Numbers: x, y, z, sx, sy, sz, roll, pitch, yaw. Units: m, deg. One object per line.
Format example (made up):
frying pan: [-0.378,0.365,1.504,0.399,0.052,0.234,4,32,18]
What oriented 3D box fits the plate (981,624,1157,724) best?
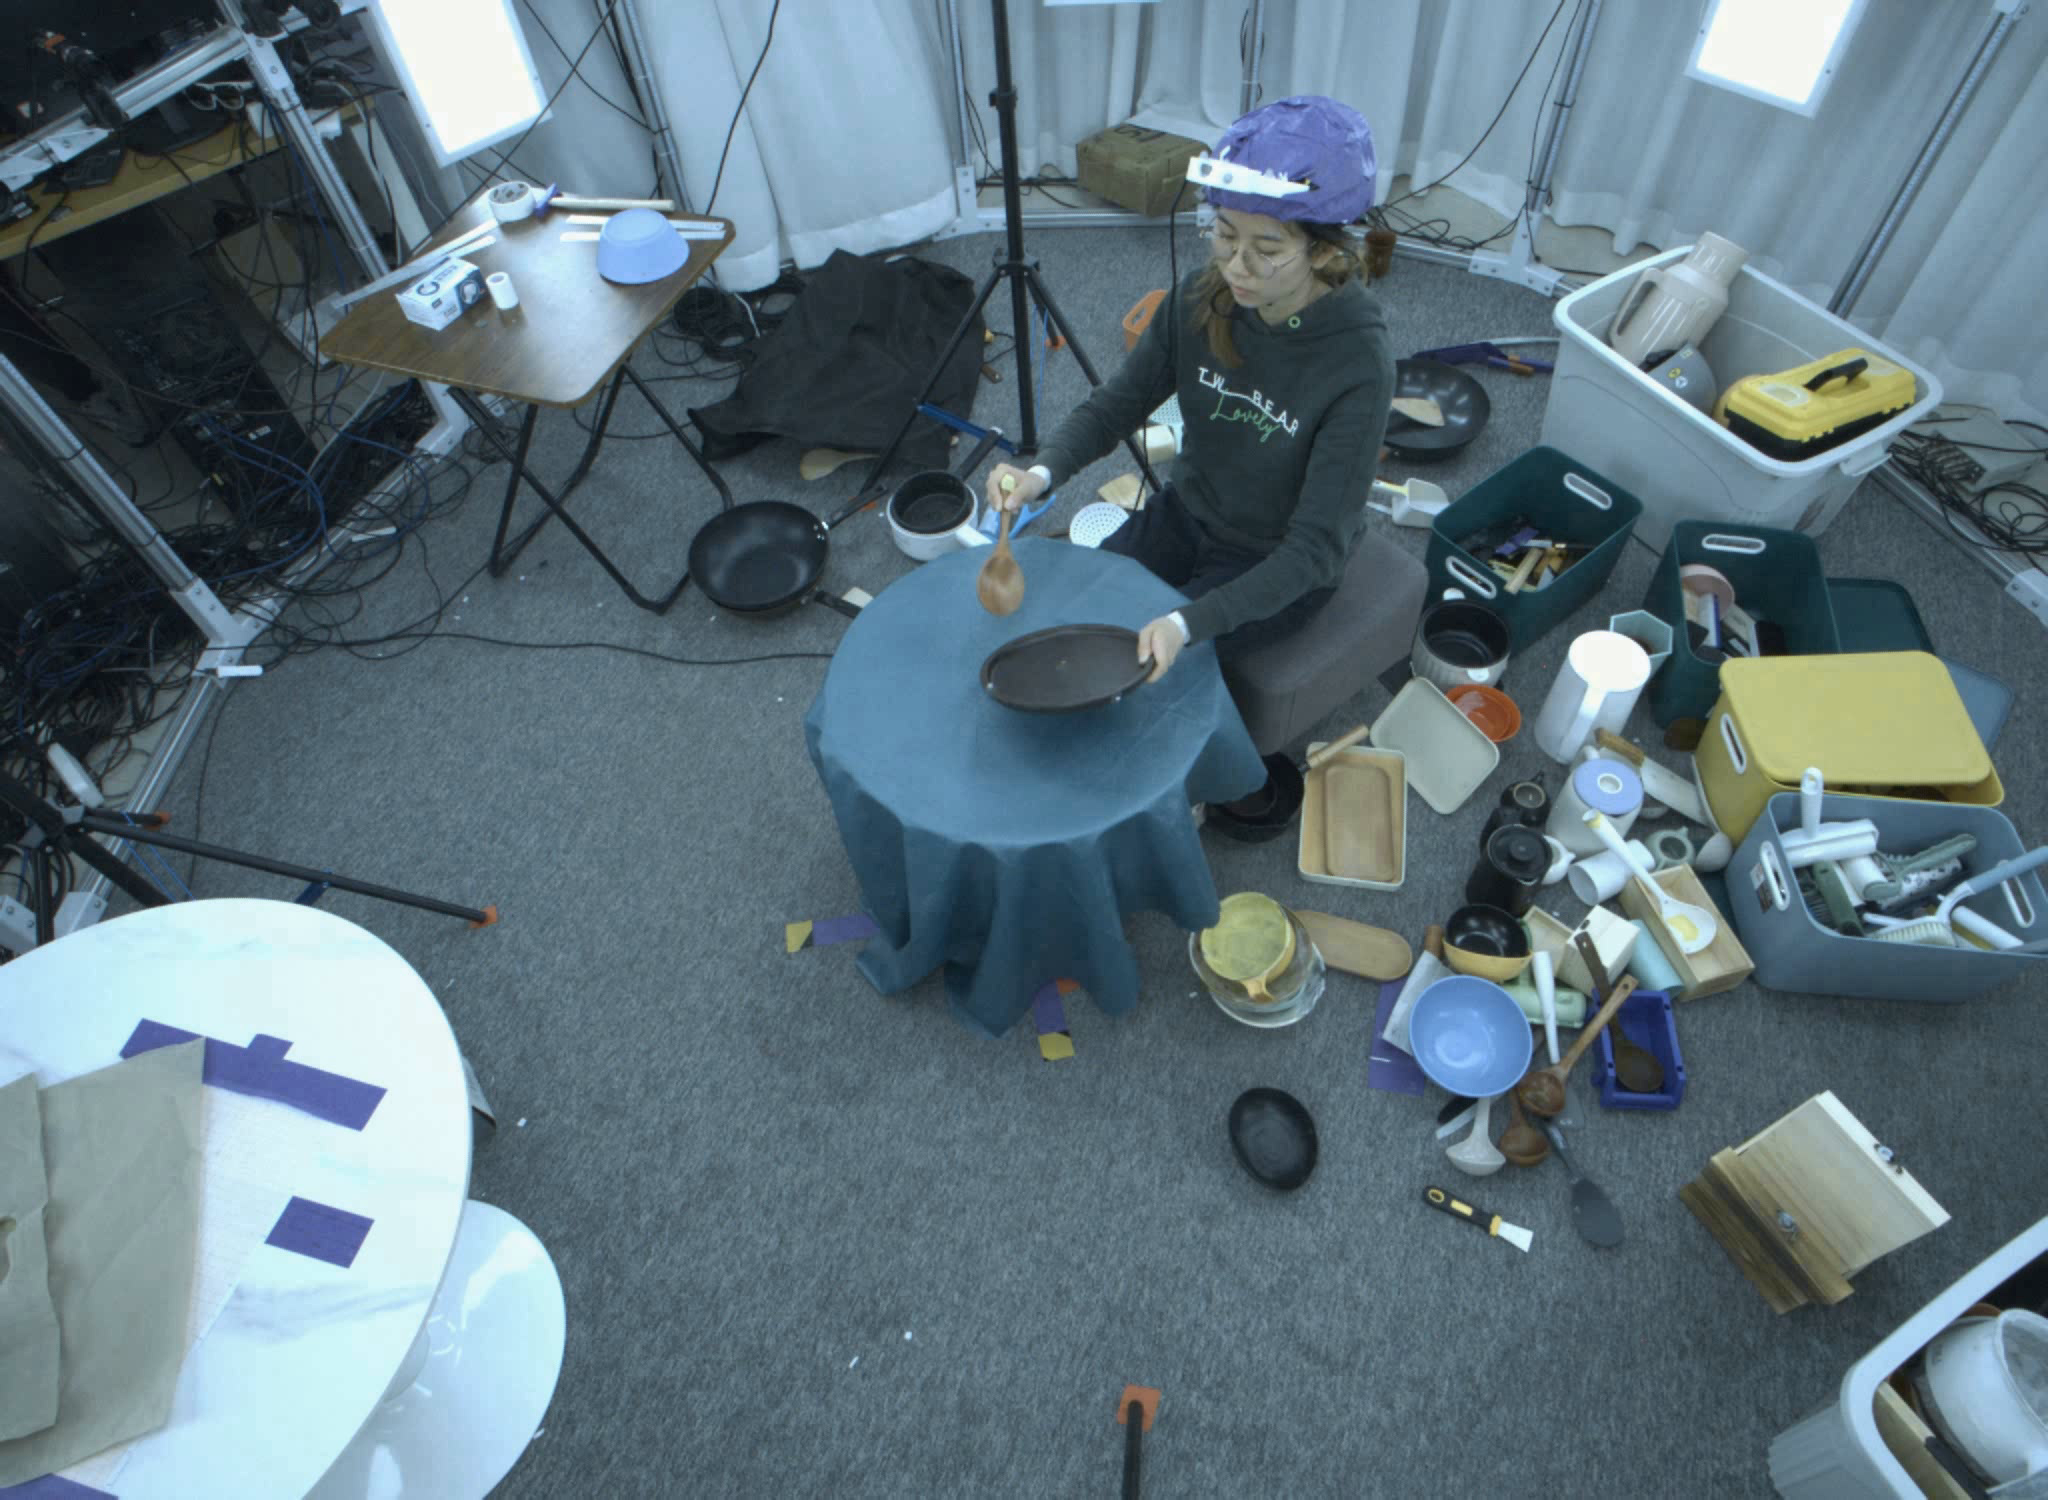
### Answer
plate: [0.065,-0.108,1.763,0.254,0.029,0.252,-6,33,5]

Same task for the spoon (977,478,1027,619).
spoon: [-0.030,-0.297,1.801,0.076,0.017,0.215,6,83,-20]
